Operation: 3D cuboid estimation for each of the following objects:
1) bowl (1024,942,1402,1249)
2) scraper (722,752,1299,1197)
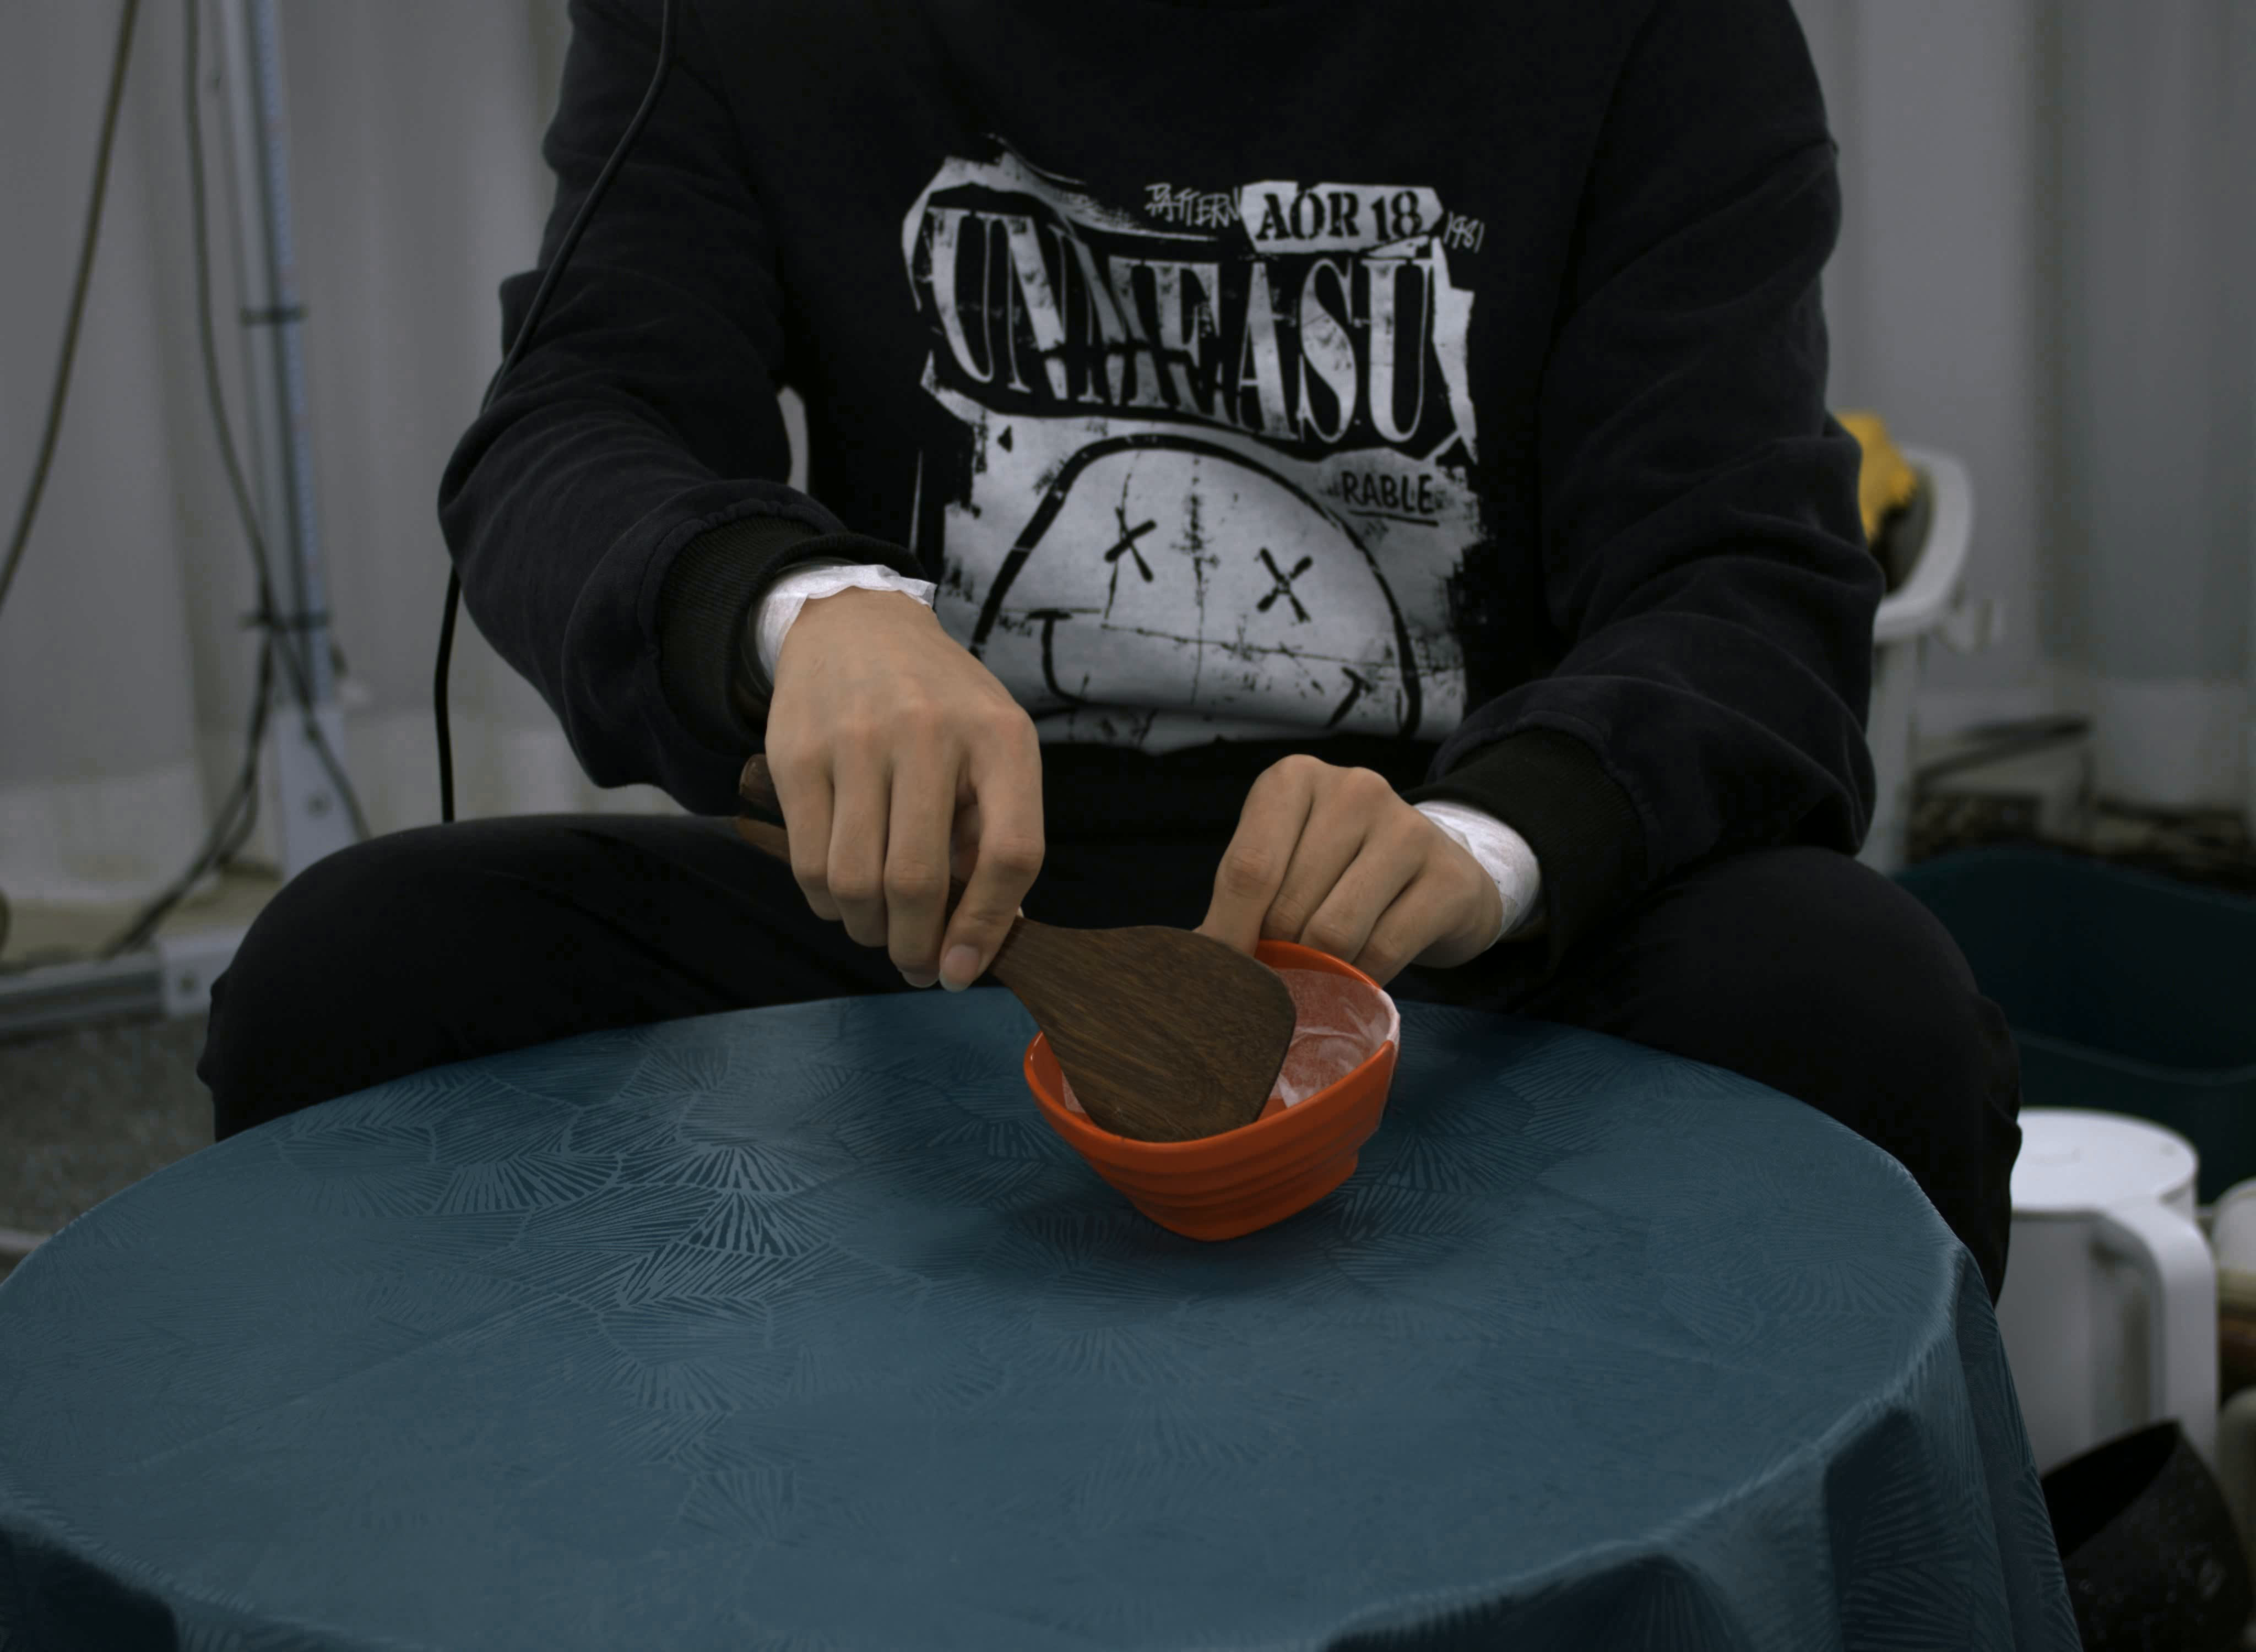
[{"bbox_3d":[0.030,0.088,1.685,0.118,0.051,0.120,-11,28,6],"label":"bowl"},{"bbox_3d":[-0.041,0.035,1.682,0.213,0.076,0.011,30,9,24],"label":"scraper"}]
